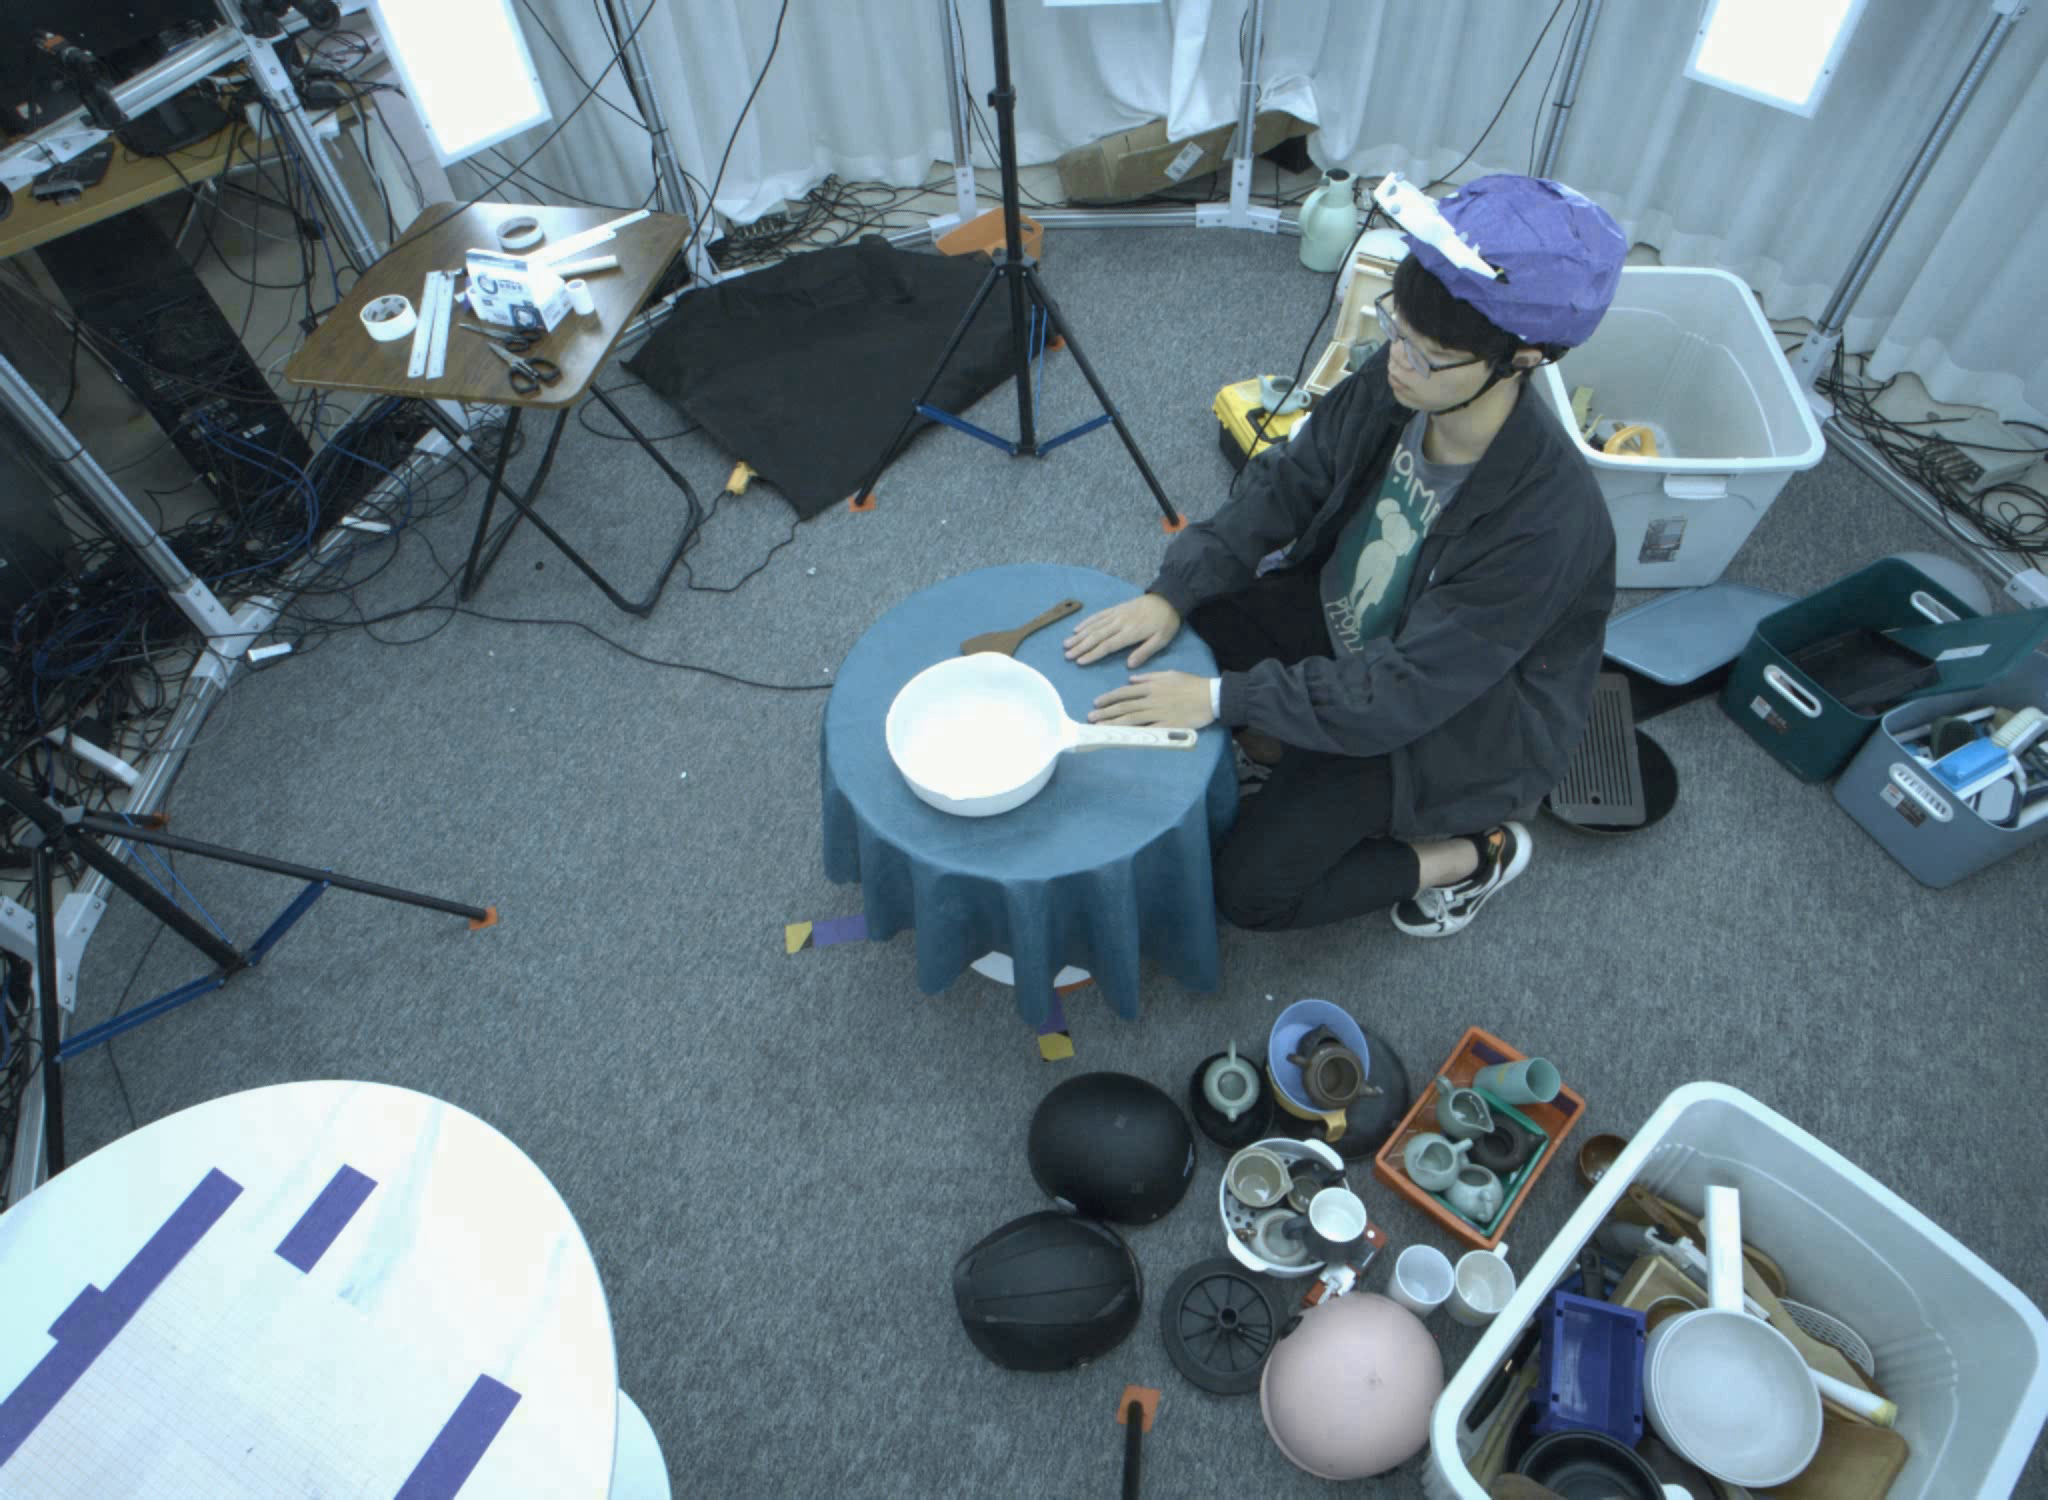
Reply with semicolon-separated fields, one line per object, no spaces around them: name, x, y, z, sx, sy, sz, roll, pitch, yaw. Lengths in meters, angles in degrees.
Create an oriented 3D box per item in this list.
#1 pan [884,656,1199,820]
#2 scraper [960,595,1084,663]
pan;0.023;-0.005;1.721;0.433;0.103;0.261;6;53;6
scraper;0.003;-0.188;1.909;0.213;0.011;0.074;-30;60;-19
